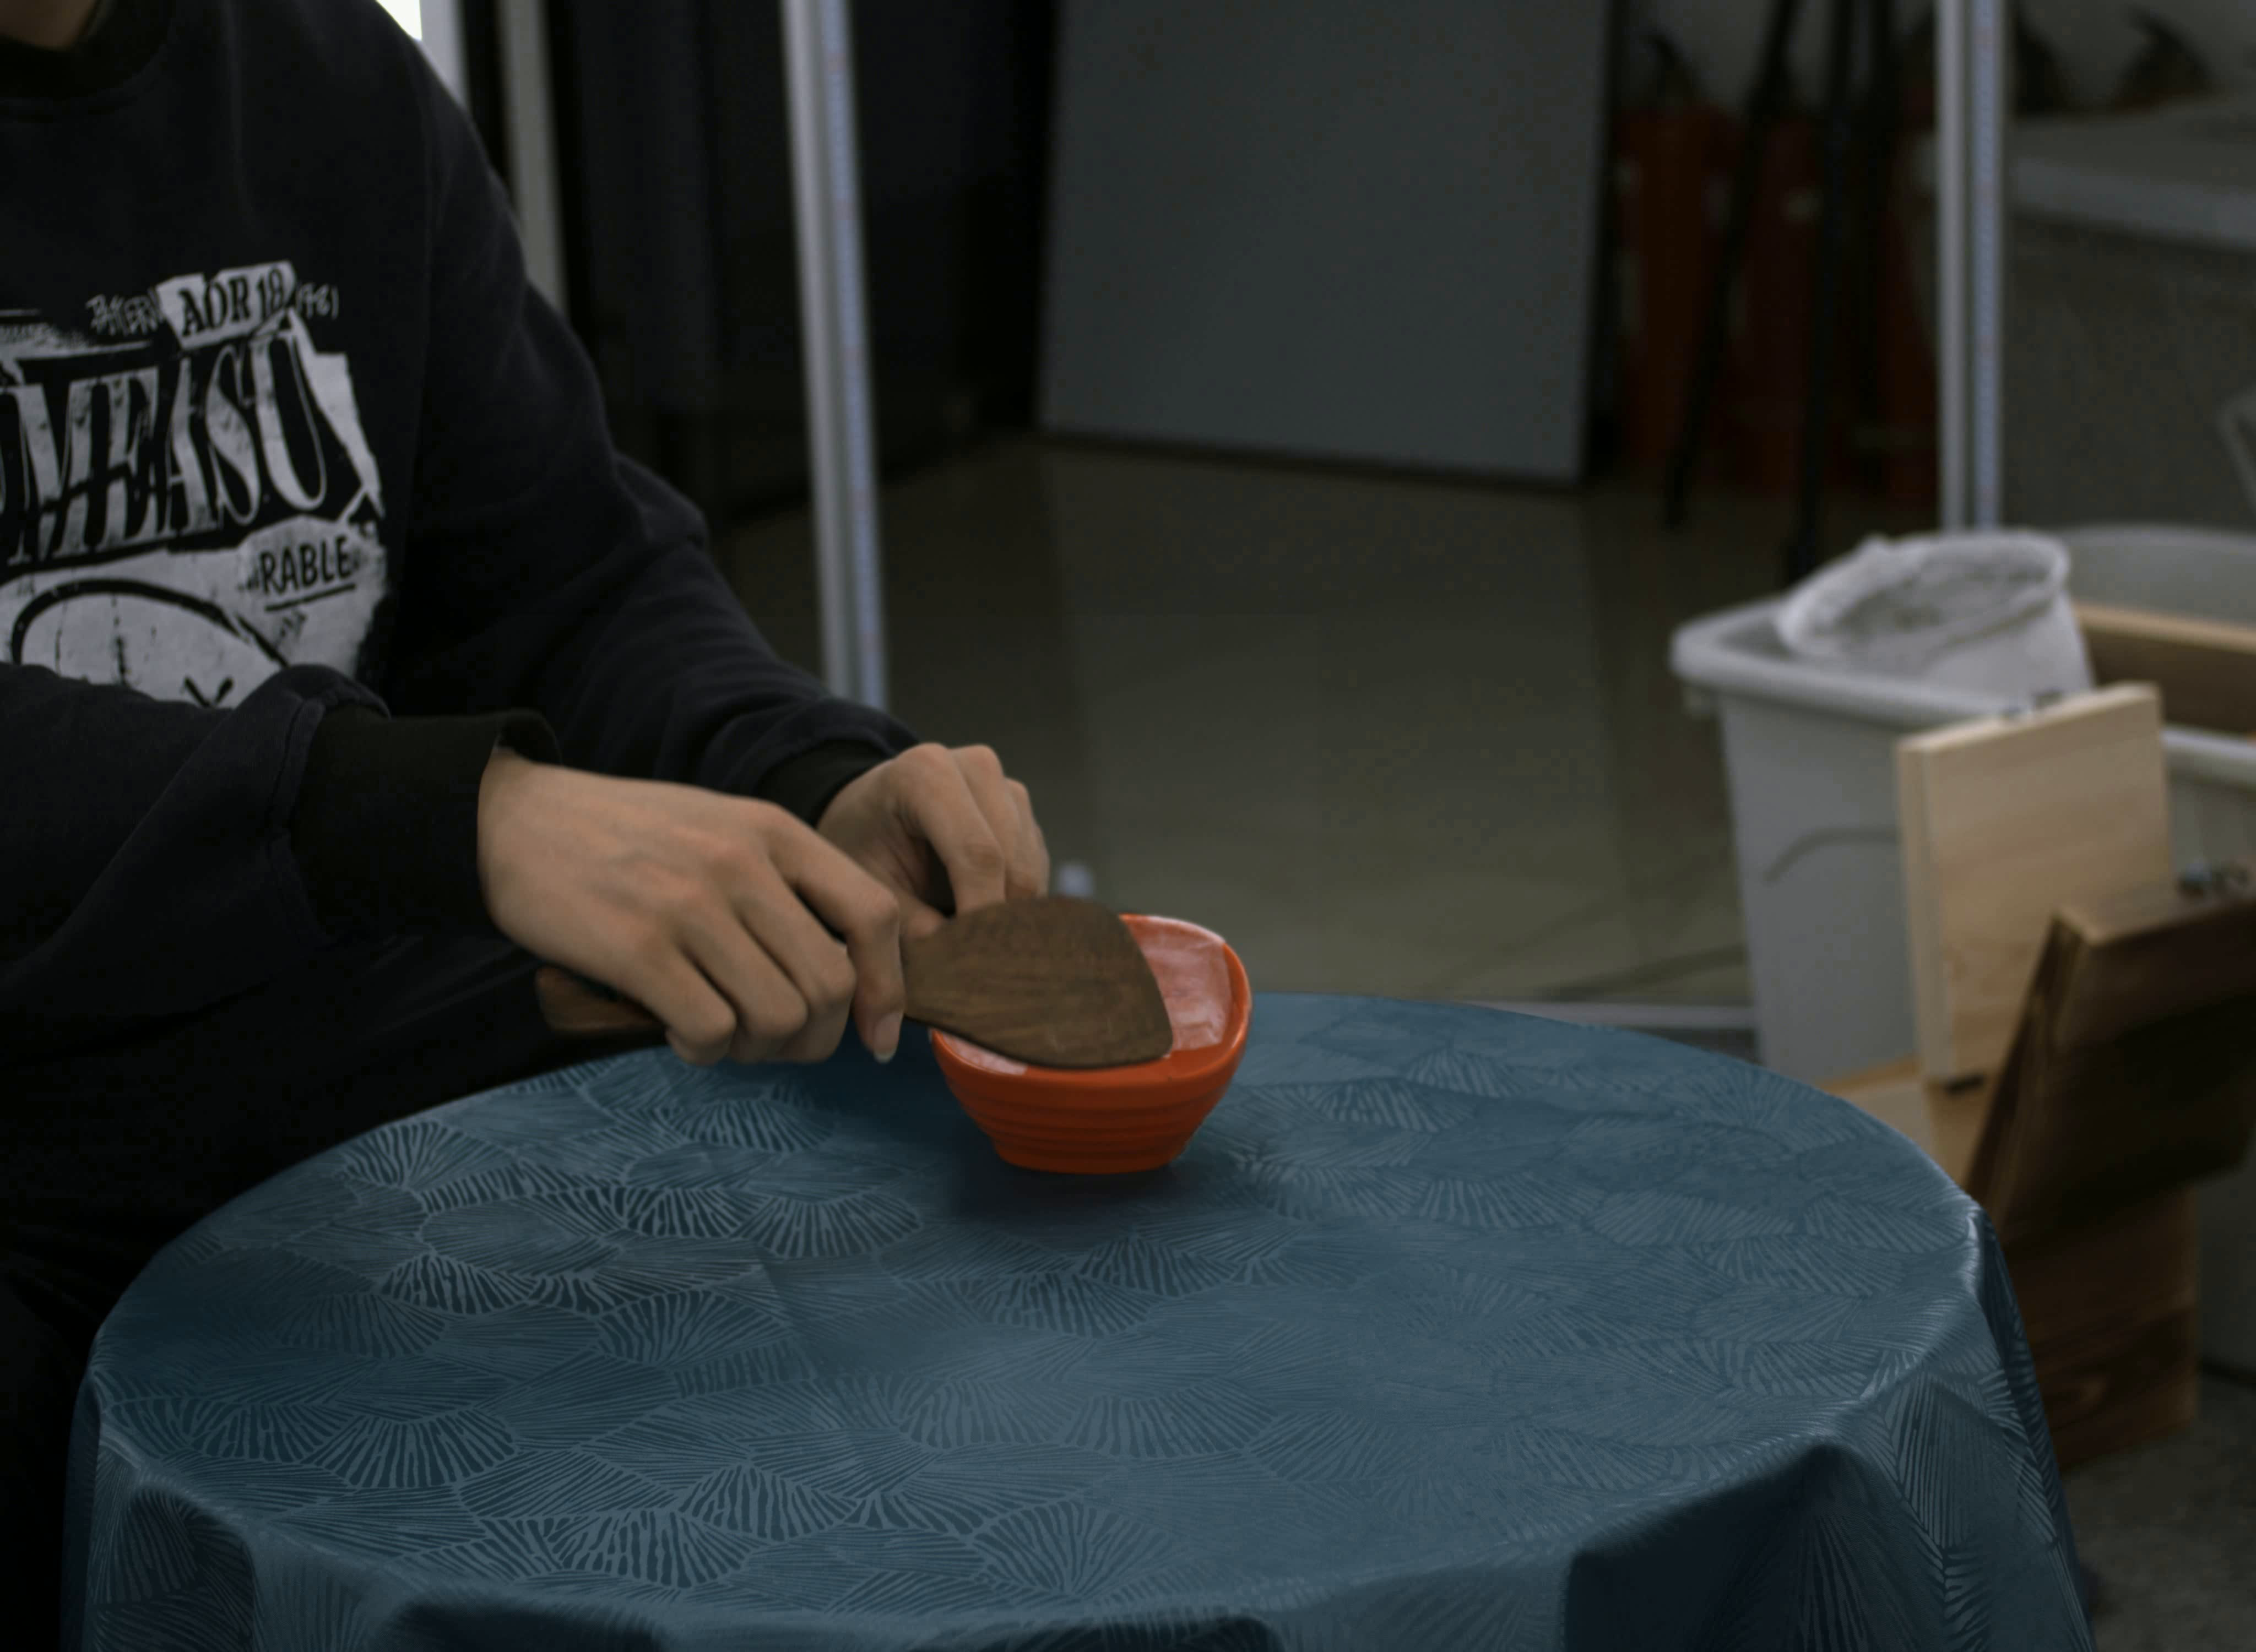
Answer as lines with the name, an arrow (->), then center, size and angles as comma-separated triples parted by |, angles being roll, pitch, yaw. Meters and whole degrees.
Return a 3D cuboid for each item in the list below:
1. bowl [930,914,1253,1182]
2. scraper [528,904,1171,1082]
bowl -> -0.013, 0.079, 1.806 | 0.117, 0.052, 0.119 | -1, 31, -1
scraper -> -0.087, 0.054, 1.688 | 0.206, 0.011, 0.077 | 0, 44, -25
